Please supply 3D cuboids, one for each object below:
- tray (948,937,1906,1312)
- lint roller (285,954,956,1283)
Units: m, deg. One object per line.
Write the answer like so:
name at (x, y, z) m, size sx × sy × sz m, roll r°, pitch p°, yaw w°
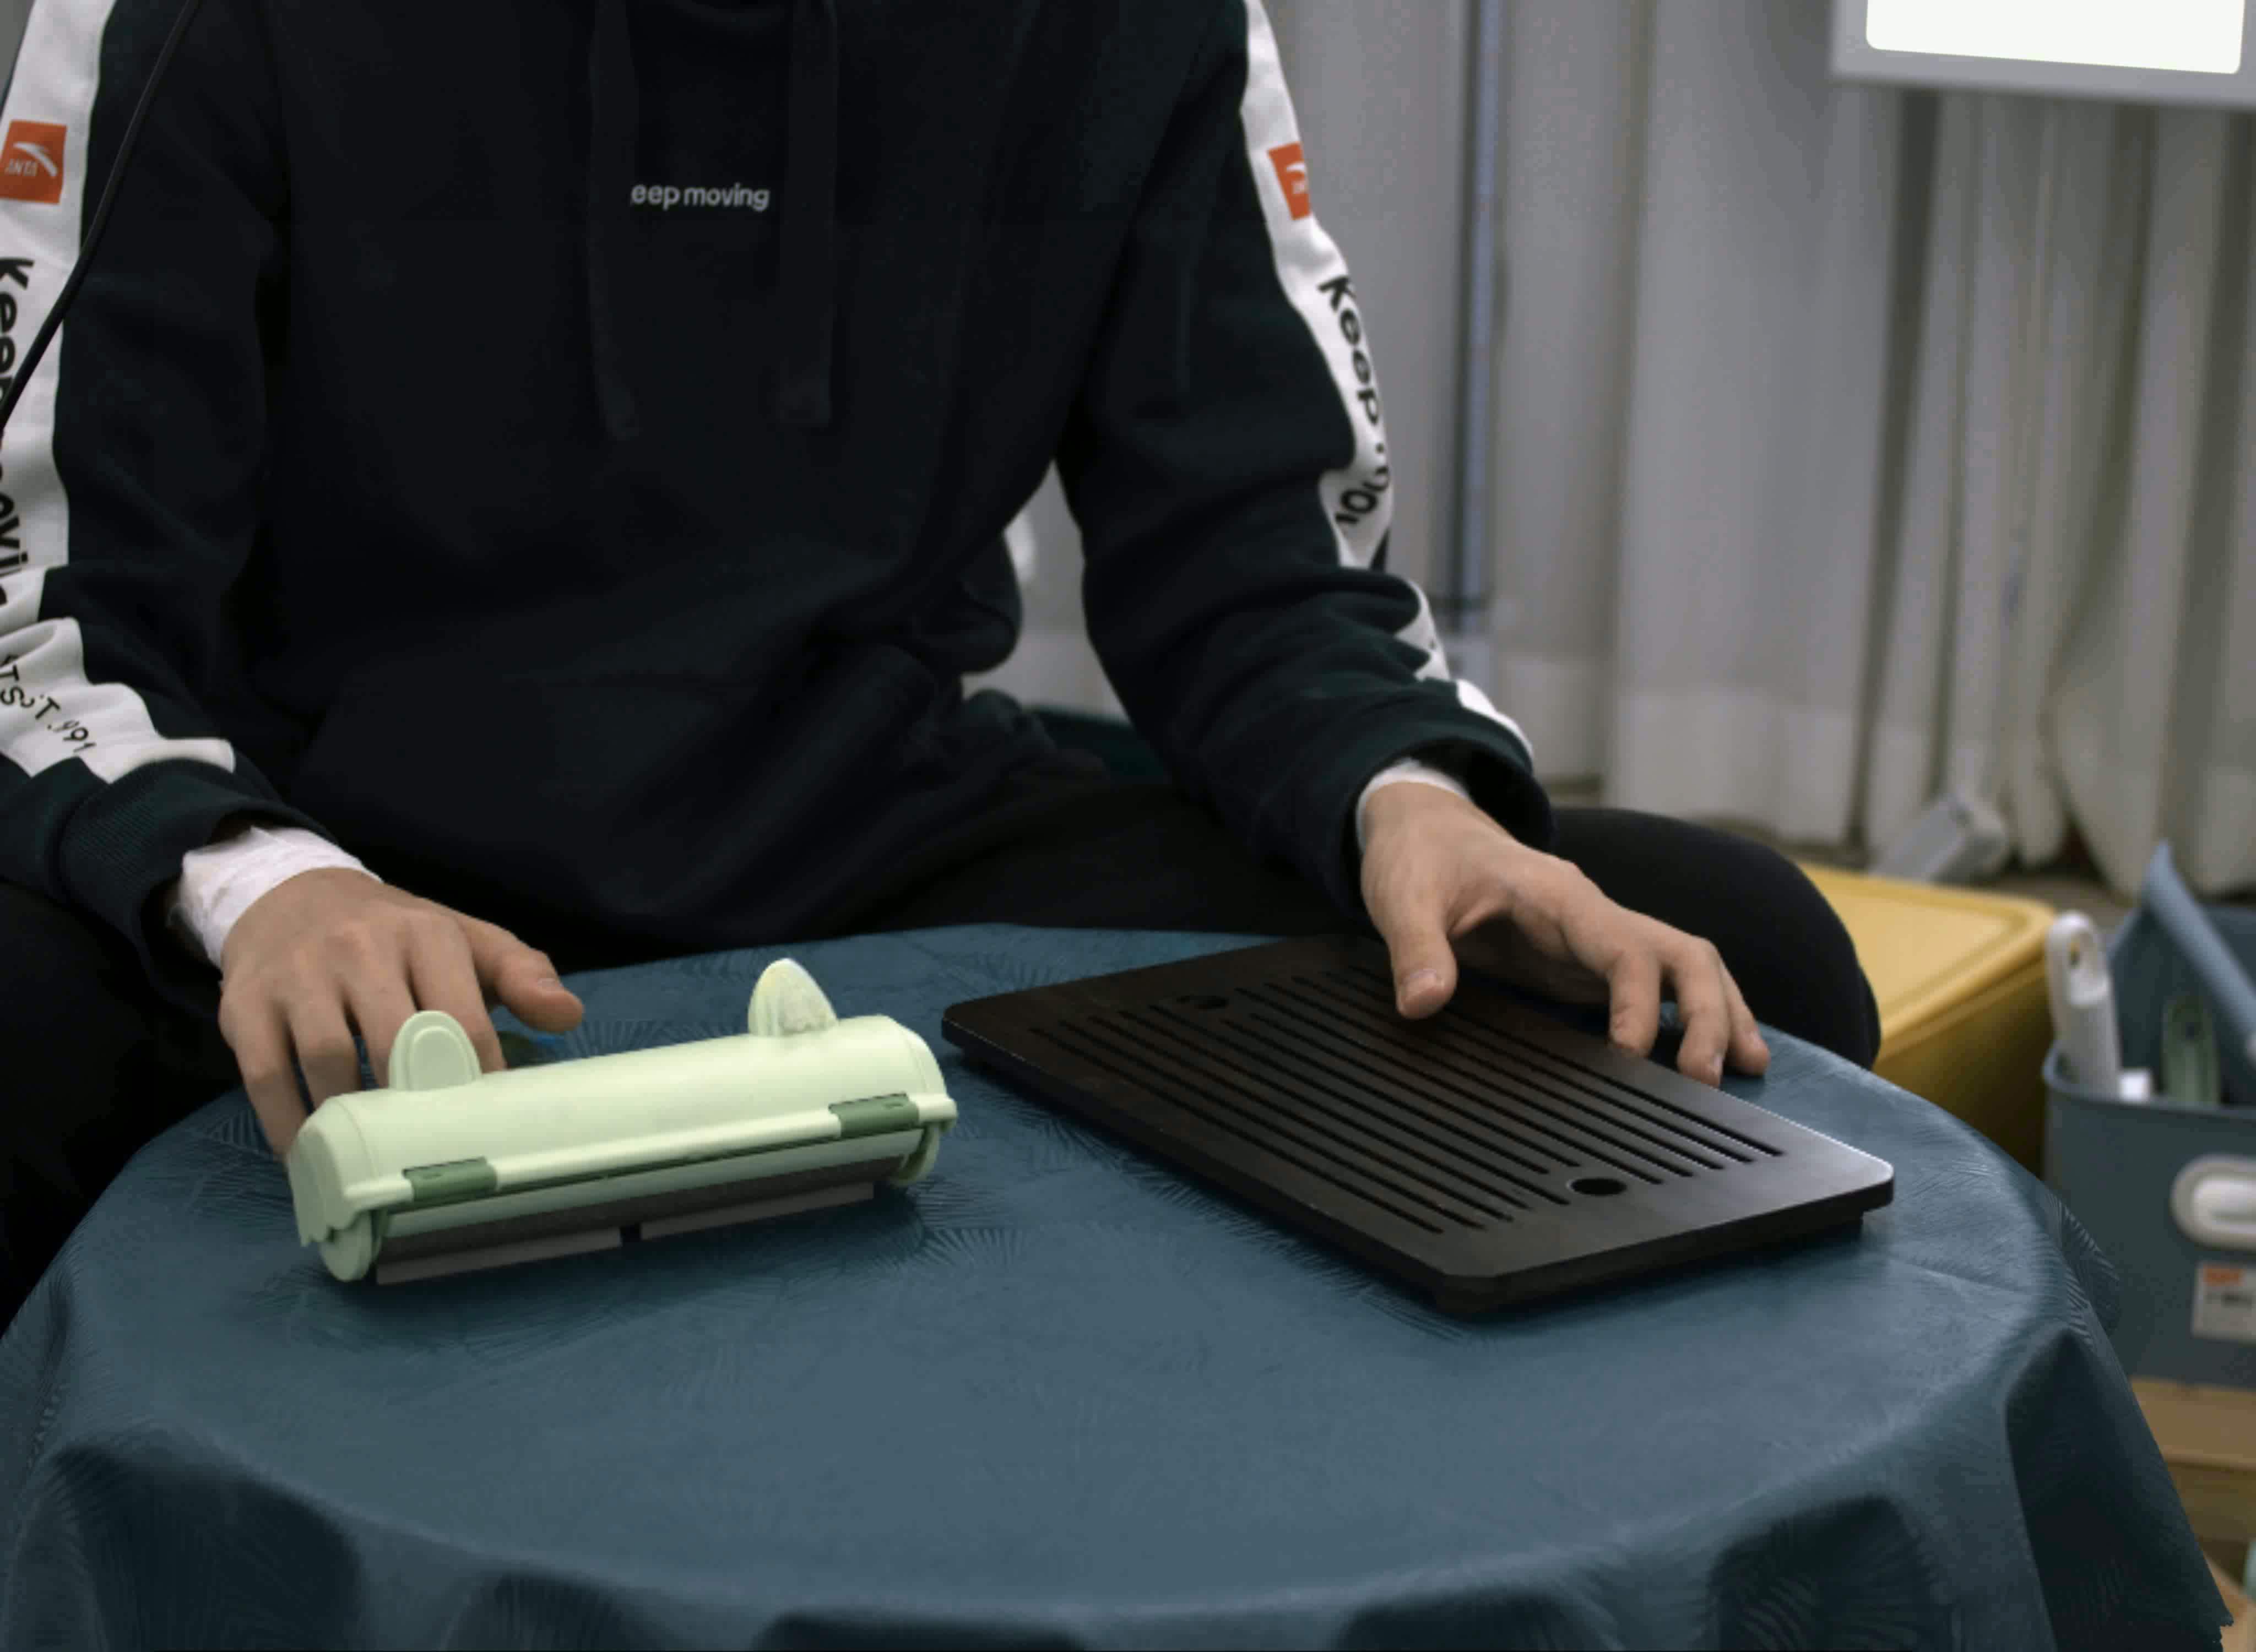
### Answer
tray at (0.088, 0.090, 1.667) m, size 0.171 × 0.019 × 0.302 m, roll -10°, pitch 18°, yaw -32°
lint roller at (-0.176, 0.072, 1.609) m, size 0.199 × 0.083 × 0.181 m, roll -8°, pitch 21°, yaw -27°
